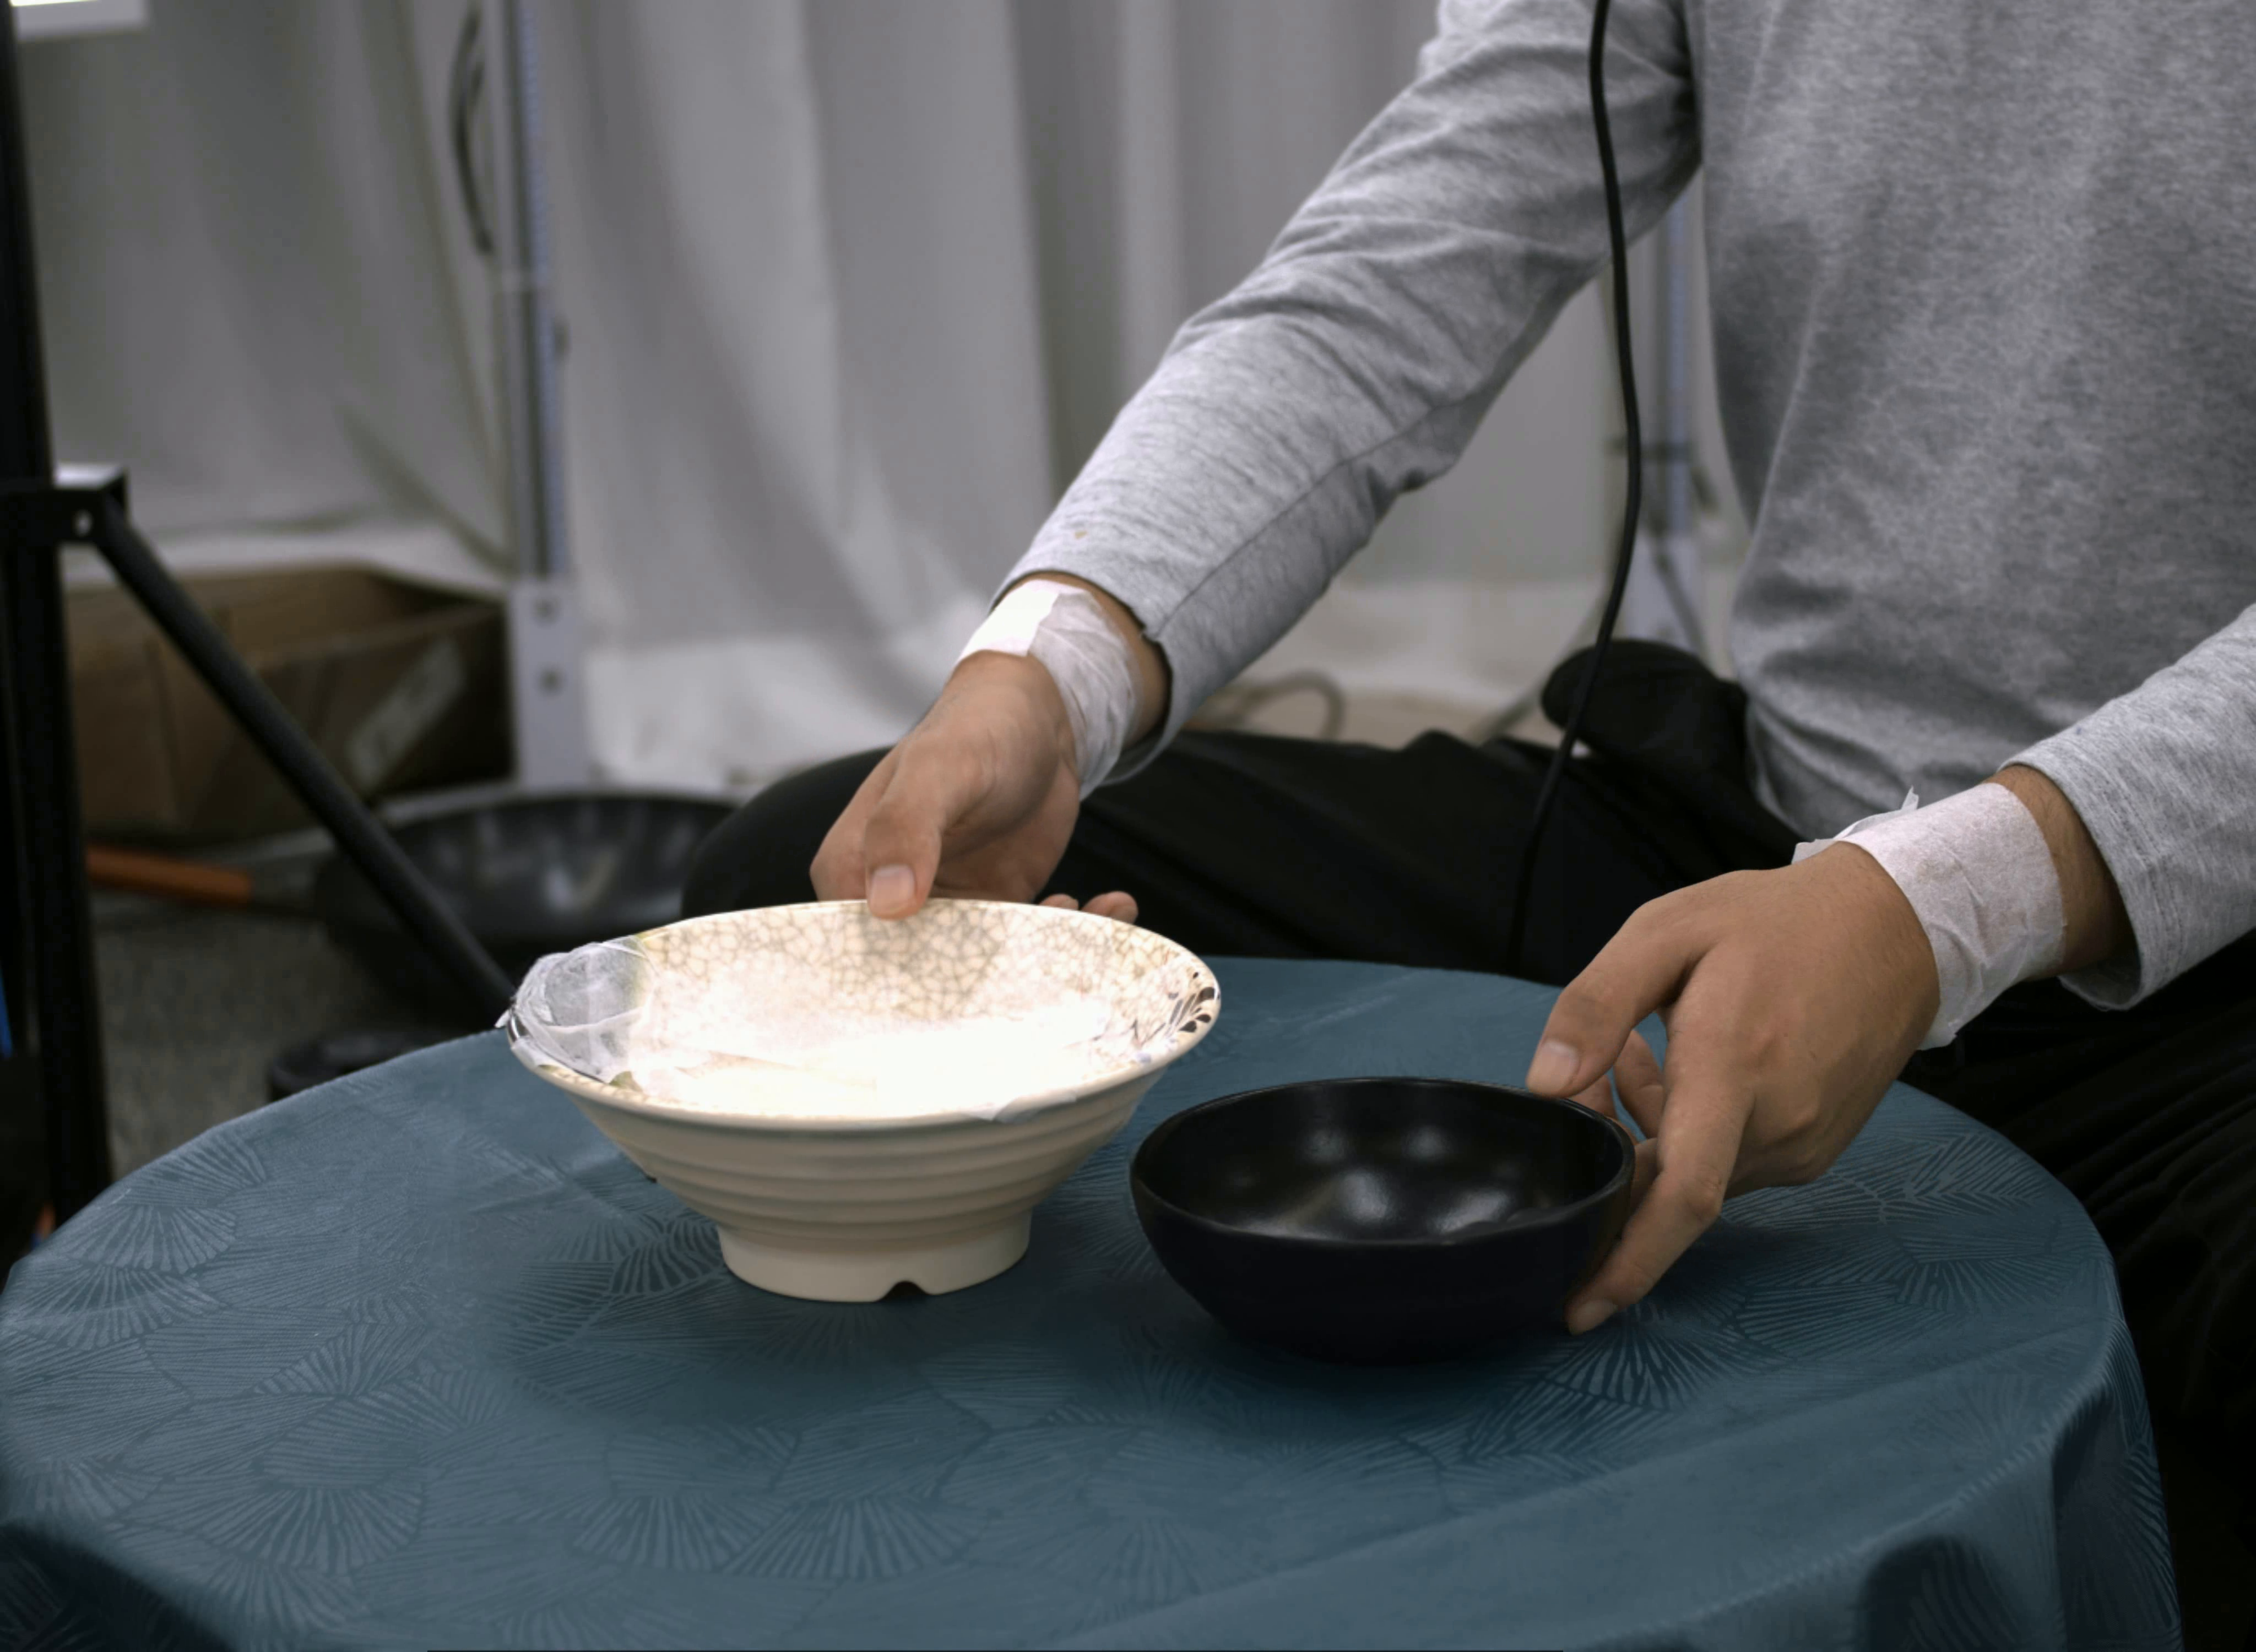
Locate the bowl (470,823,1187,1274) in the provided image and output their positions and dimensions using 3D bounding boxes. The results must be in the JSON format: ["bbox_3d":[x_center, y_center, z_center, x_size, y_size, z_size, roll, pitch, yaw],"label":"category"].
[{"bbox_3d":[-0.082,0.074,1.515,0.203,0.078,0.205,-4,22,0],"label":"bowl"}]

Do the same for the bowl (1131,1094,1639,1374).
[{"bbox_3d":[0.069,0.116,1.446,0.139,0.050,0.140,2,13,-2],"label":"bowl"}]
